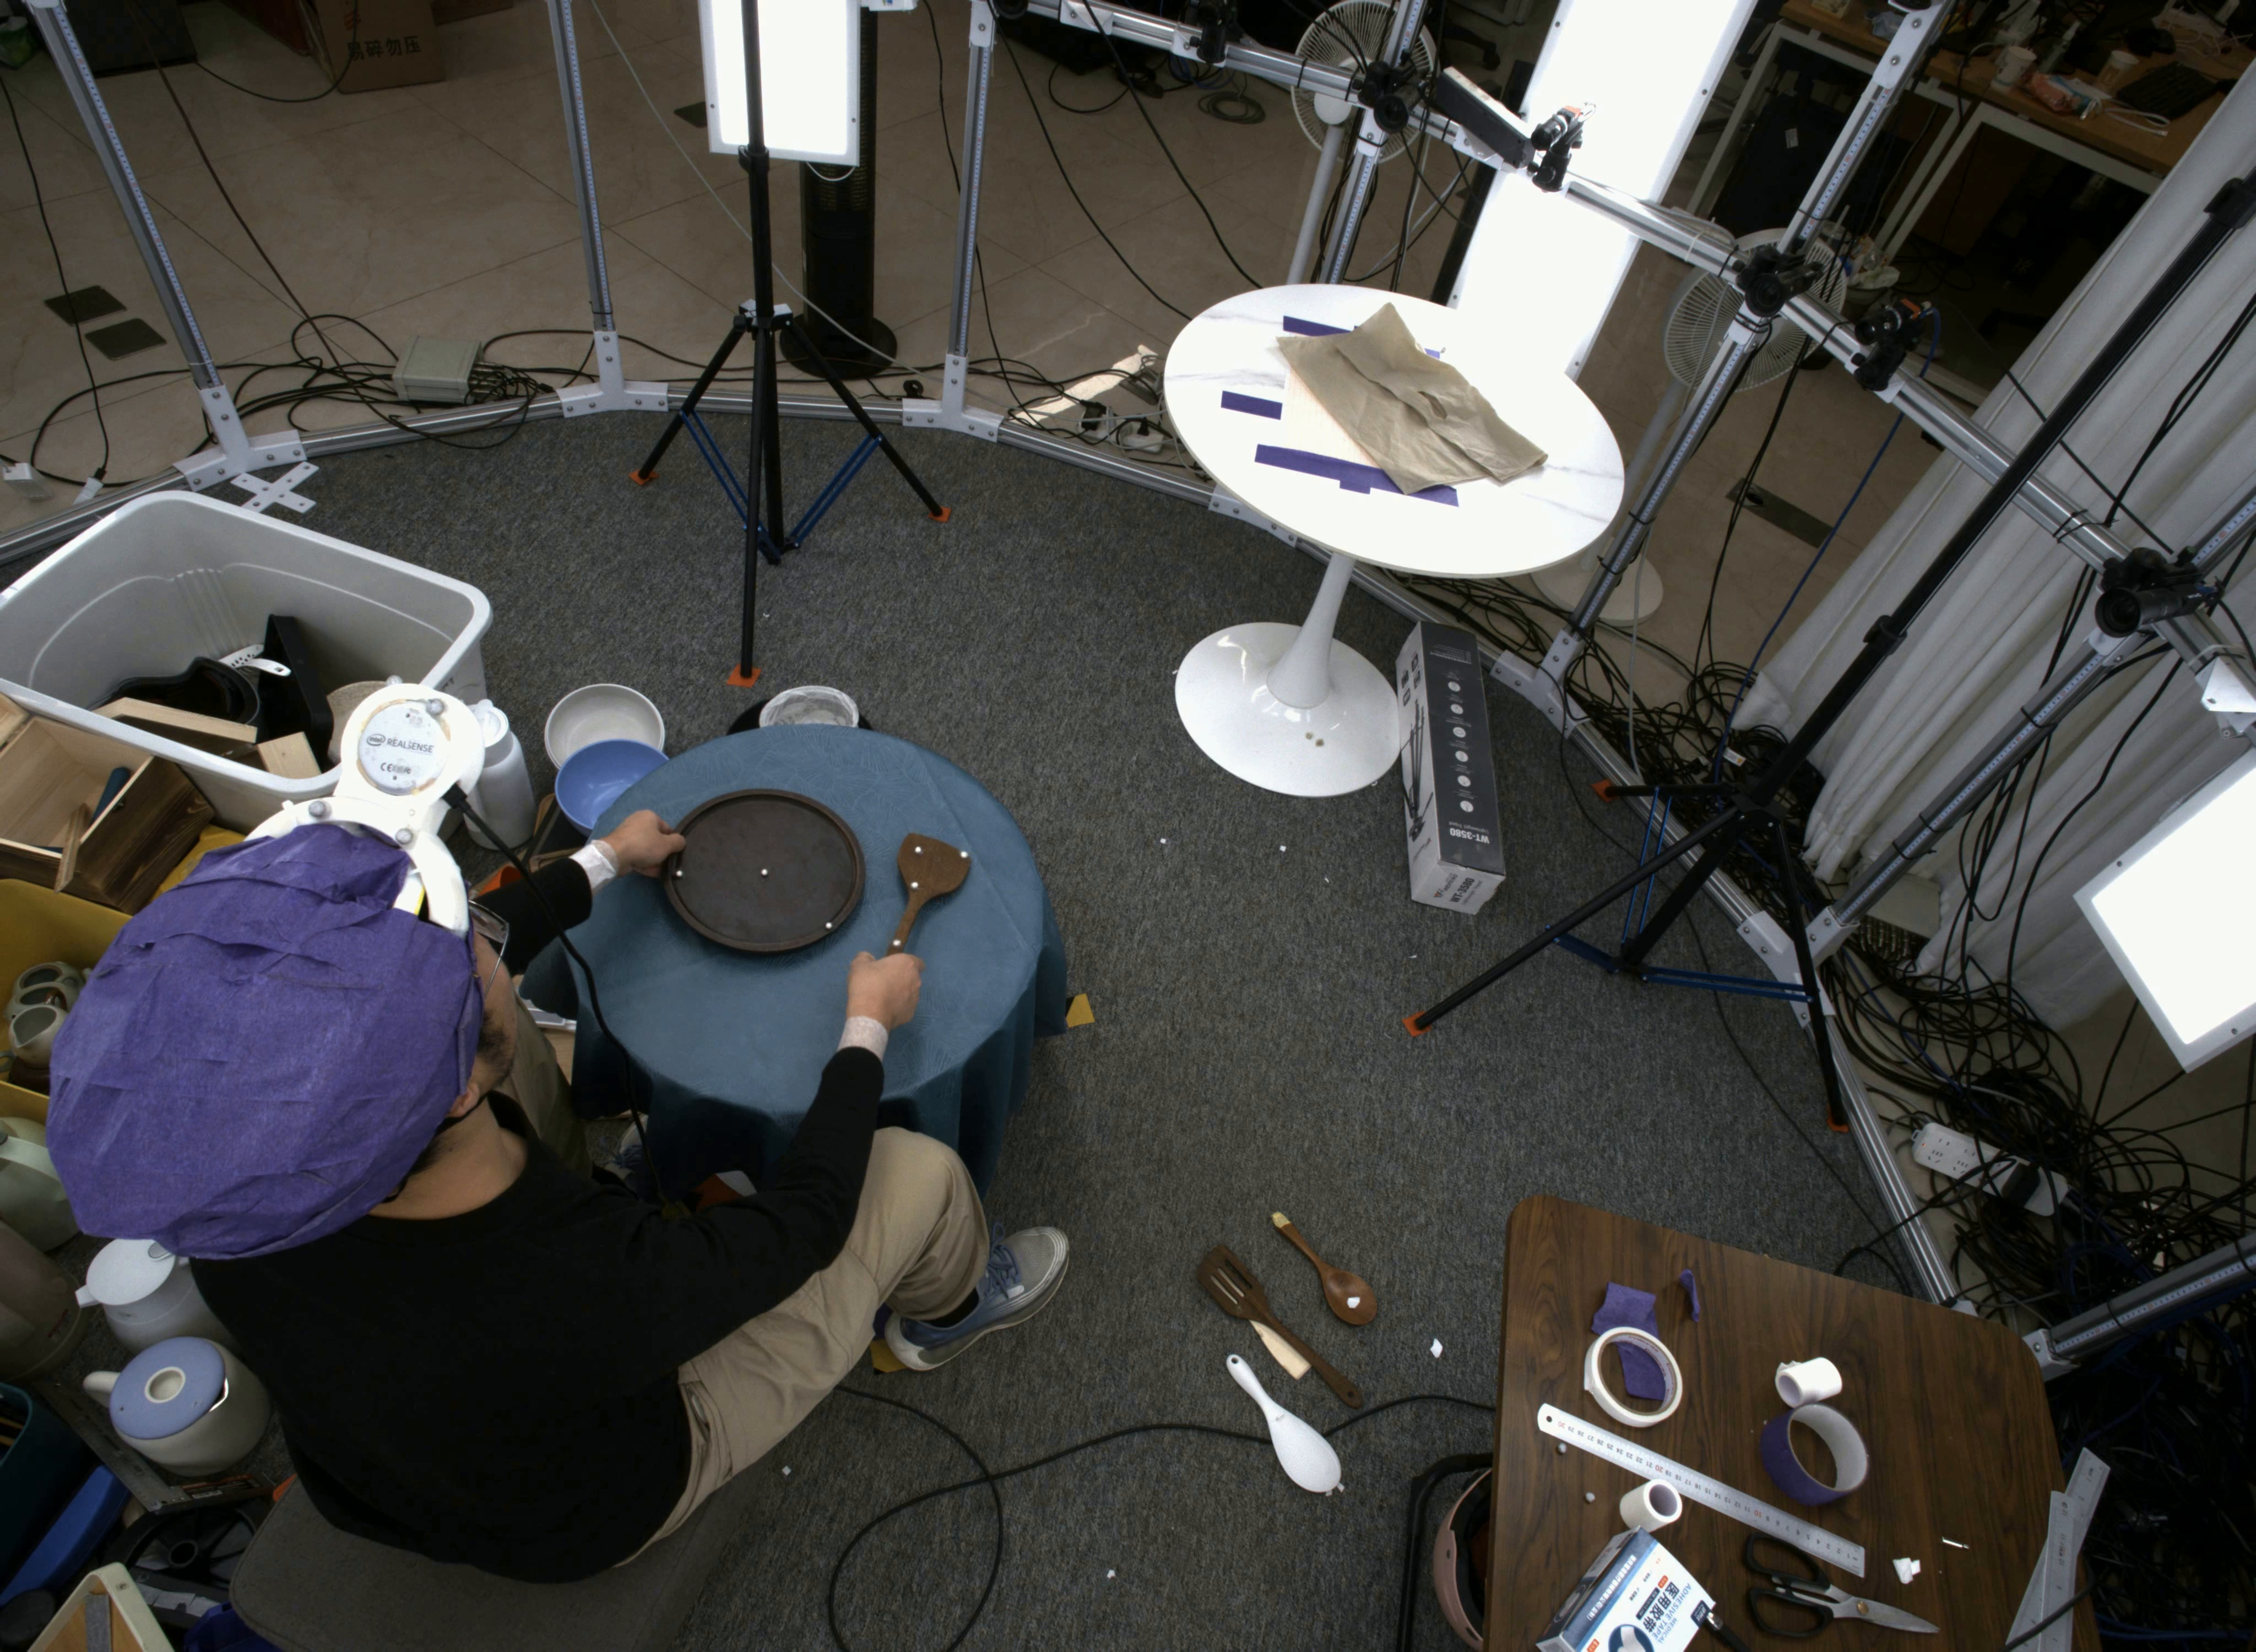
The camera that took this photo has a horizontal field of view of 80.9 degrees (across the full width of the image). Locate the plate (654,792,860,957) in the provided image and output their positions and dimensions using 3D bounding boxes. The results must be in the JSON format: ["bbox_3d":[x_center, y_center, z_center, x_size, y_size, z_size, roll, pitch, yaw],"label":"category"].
[{"bbox_3d":[-0.469,0.058,1.640,0.256,0.029,0.250,12,51,-13],"label":"plate"}]

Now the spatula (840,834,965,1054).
[{"bbox_3d":[-0.285,0.134,1.593,0.096,0.016,0.379,23,37,-8],"label":"spatula"}]
